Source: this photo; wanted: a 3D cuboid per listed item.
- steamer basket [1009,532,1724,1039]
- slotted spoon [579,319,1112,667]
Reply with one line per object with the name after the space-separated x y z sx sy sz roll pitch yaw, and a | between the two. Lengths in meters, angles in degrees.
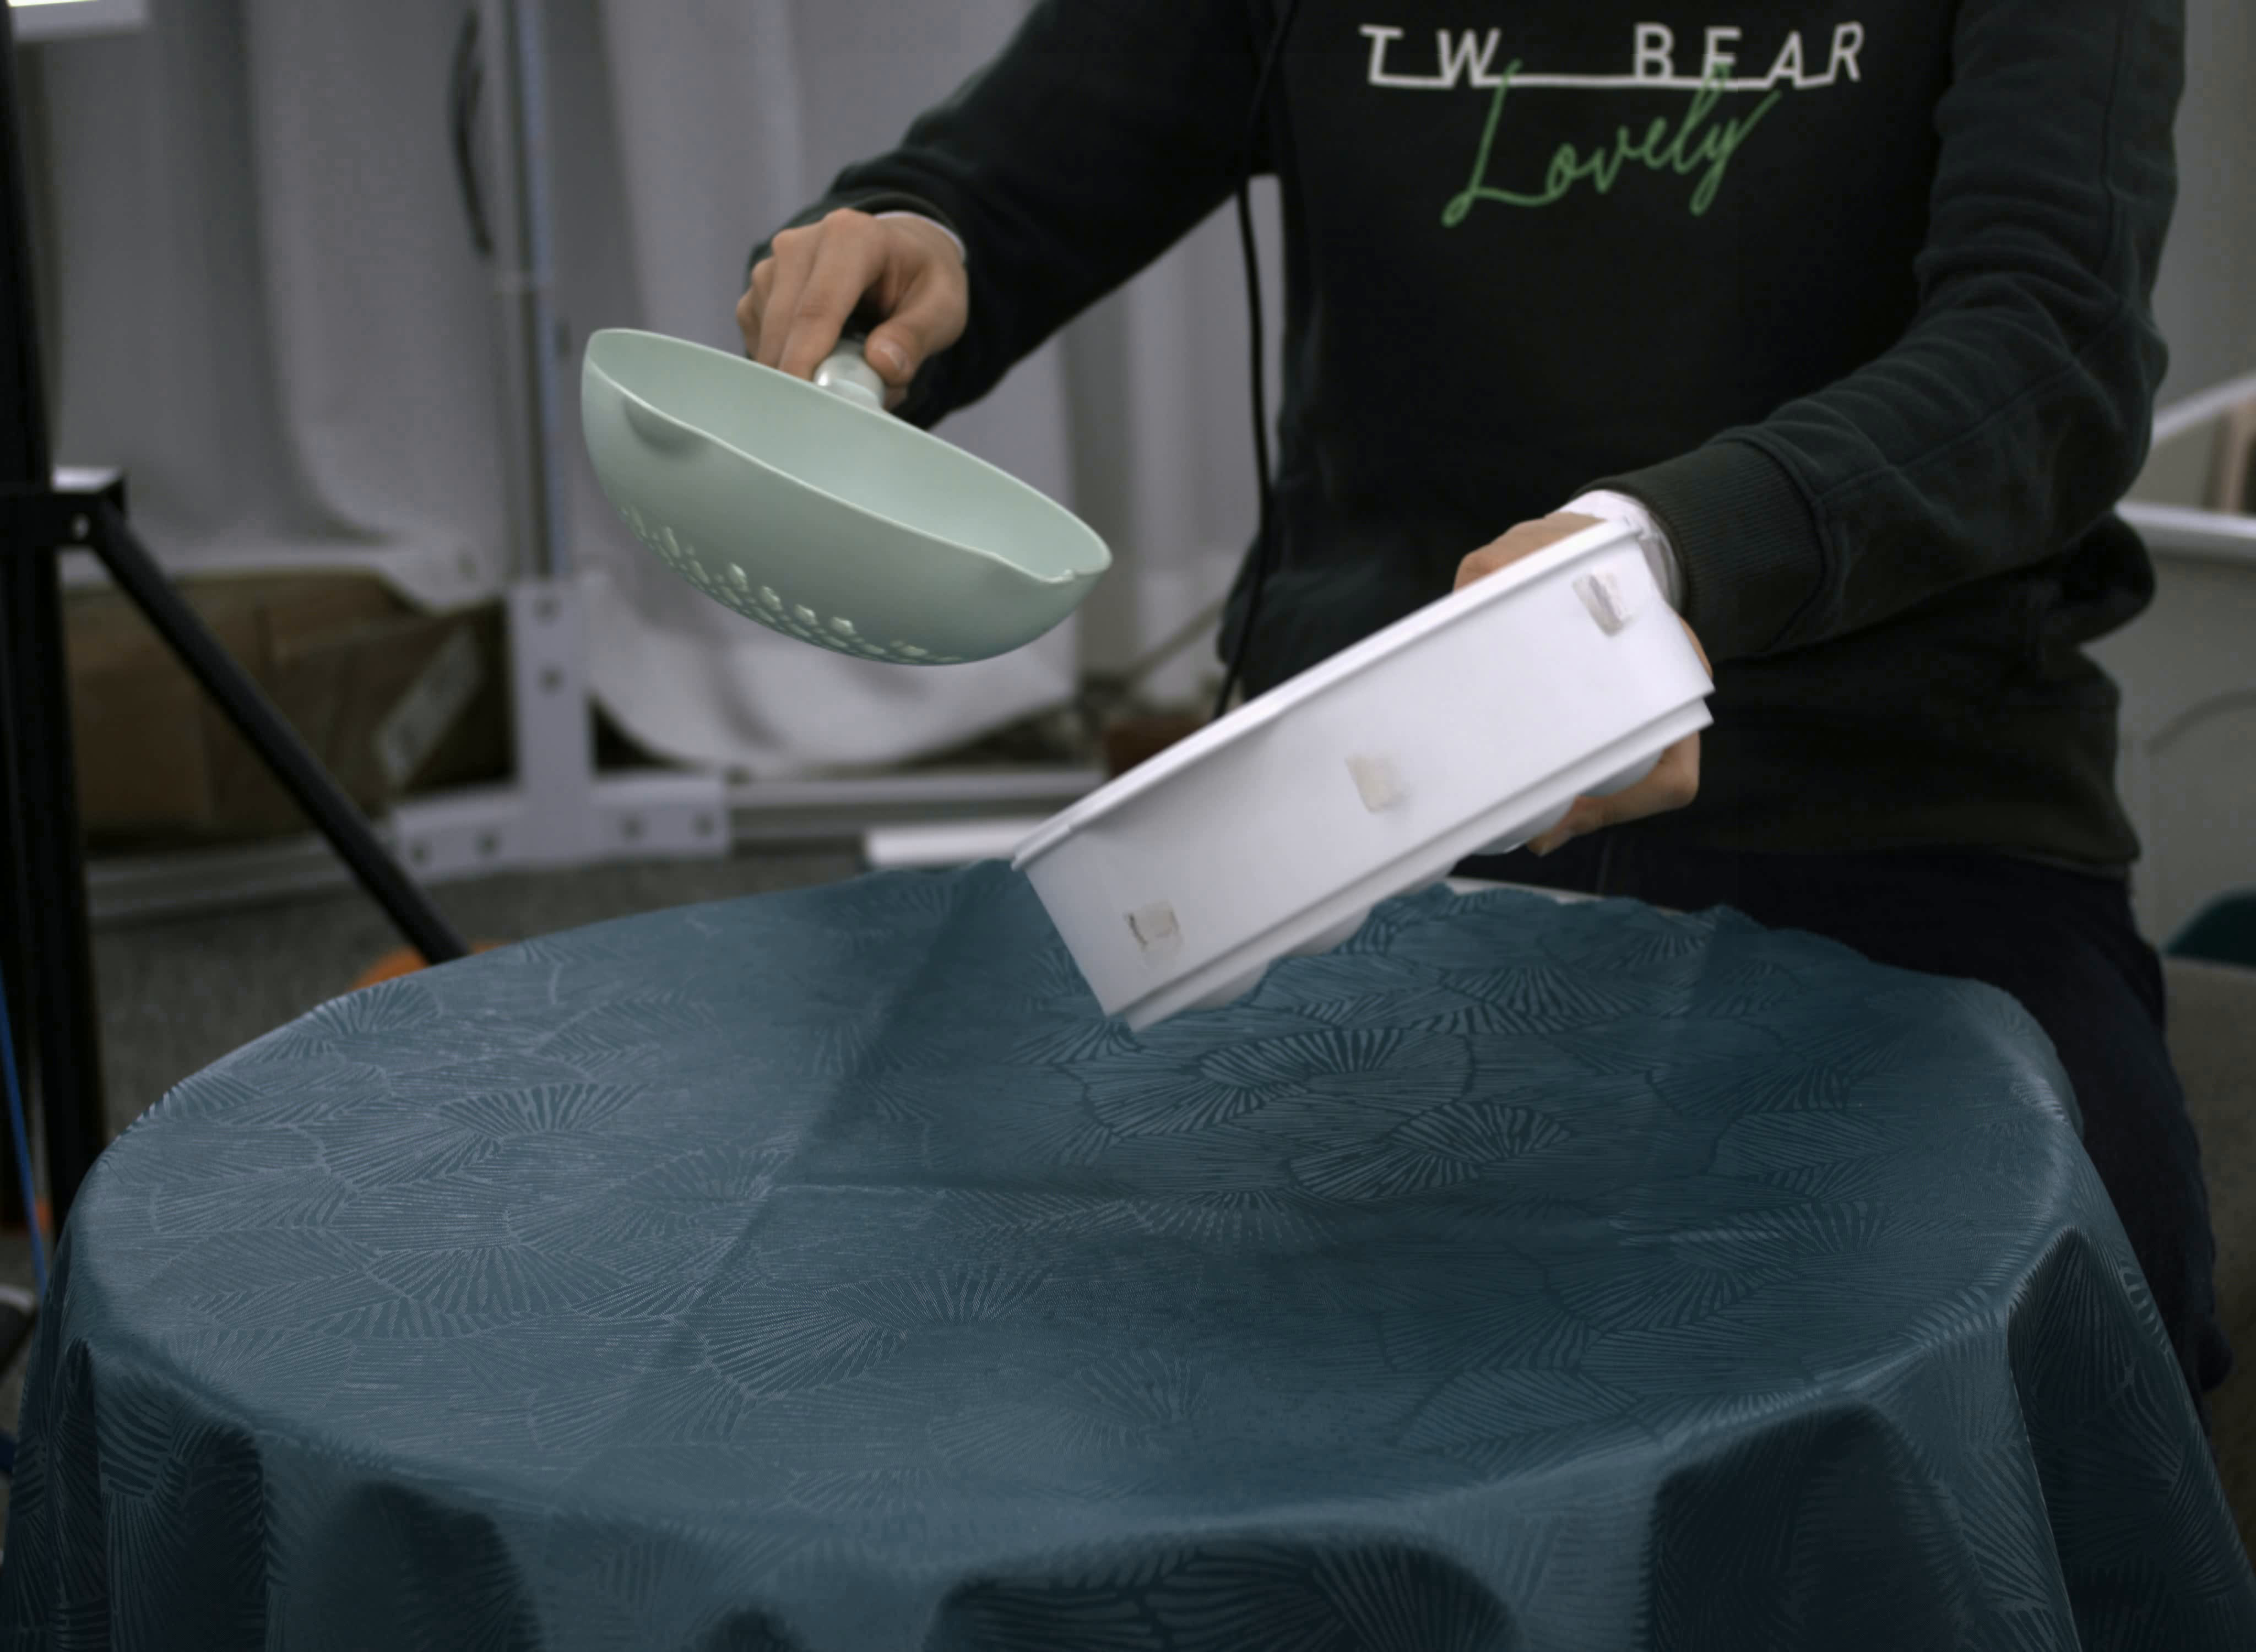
0.069 -0.008 1.477 0.204 0.069 0.226 -27 -2 30 | steamer basket
-0.091 -0.124 1.683 0.168 0.076 0.360 23 20 -7 | slotted spoon
